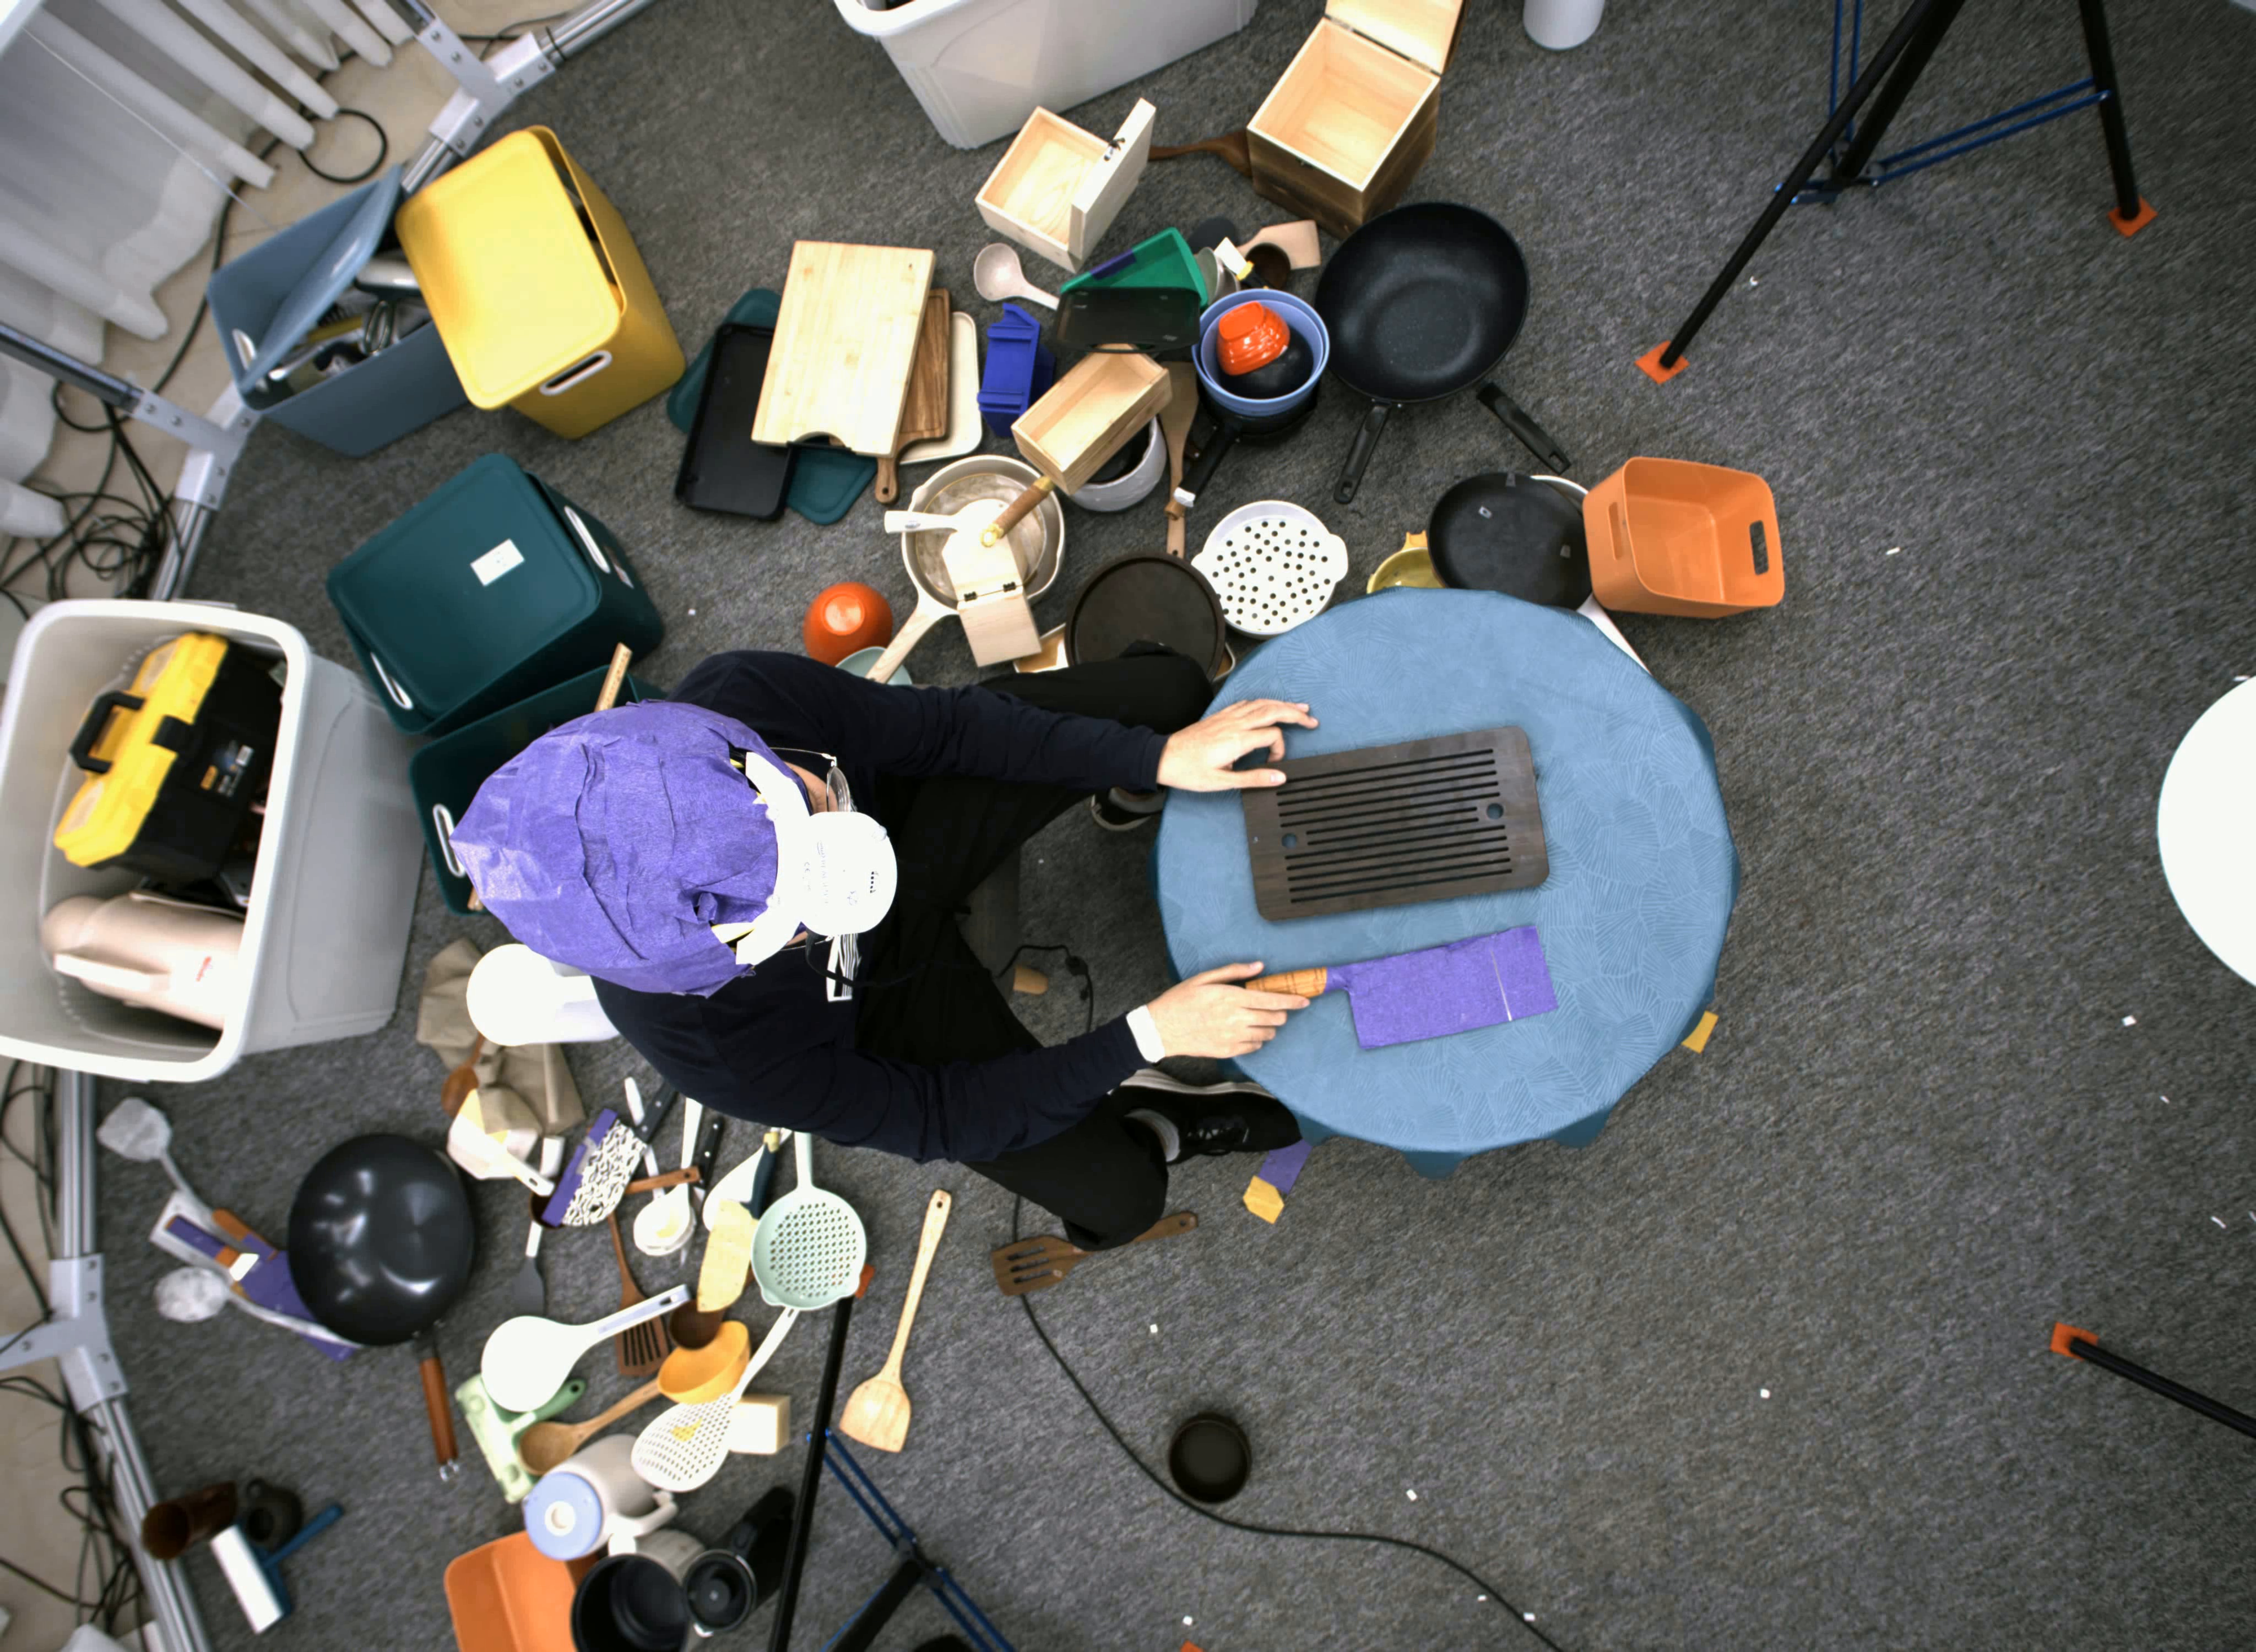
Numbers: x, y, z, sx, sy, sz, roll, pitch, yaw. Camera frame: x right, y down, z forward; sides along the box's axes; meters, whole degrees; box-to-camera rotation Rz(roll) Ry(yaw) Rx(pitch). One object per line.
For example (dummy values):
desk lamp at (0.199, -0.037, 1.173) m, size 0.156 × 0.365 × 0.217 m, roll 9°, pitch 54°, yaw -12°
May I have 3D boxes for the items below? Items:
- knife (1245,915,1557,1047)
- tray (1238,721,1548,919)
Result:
knife at (0.284, 0.175, 1.438) m, size 0.317 × 0.032 × 0.103 m, roll -14°, pitch 84°, yaw 9°
tray at (0.277, -0.006, 1.454) m, size 0.307 × 0.018 × 0.169 m, roll -9°, pitch 85°, yaw 10°
